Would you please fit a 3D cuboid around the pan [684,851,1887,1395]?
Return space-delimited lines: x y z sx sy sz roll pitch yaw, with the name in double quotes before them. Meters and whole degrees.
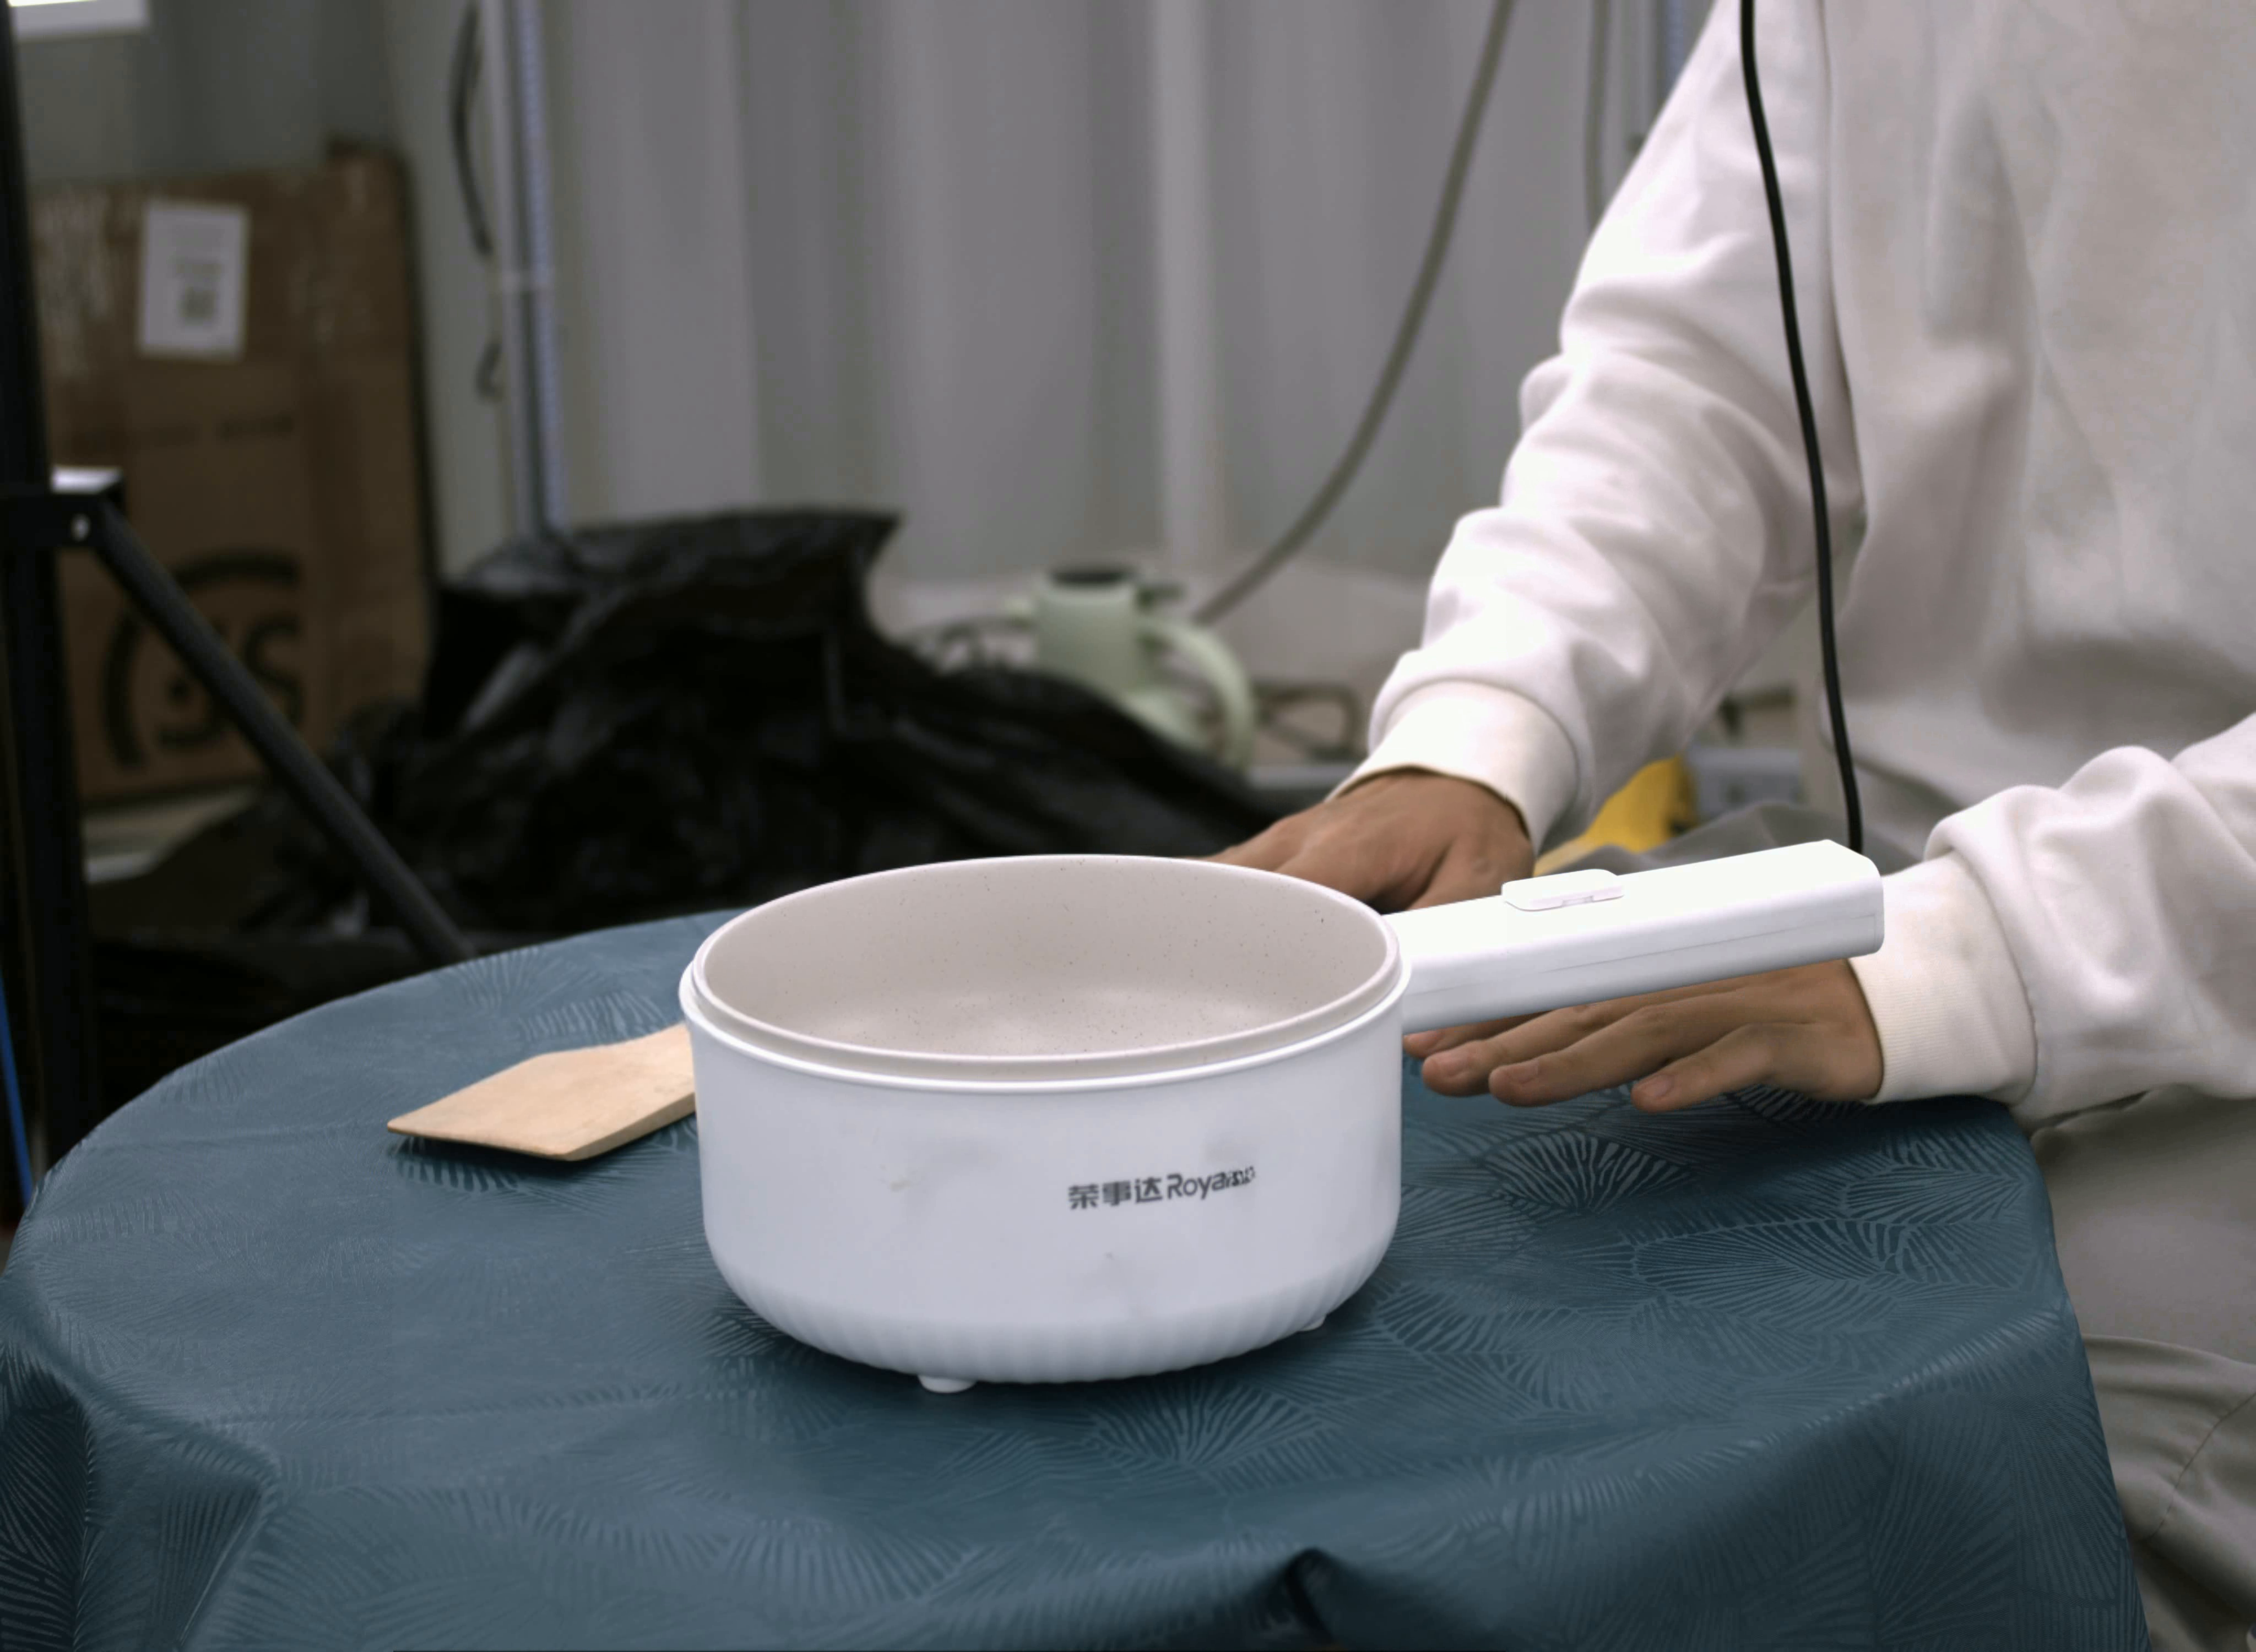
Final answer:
"pan" 0.050 0.076 1.493 0.348 0.102 0.205 -7 15 -20

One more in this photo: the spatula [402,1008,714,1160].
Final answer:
"spatula" -0.123 0.062 1.728 0.073 0.010 0.288 5 18 30
